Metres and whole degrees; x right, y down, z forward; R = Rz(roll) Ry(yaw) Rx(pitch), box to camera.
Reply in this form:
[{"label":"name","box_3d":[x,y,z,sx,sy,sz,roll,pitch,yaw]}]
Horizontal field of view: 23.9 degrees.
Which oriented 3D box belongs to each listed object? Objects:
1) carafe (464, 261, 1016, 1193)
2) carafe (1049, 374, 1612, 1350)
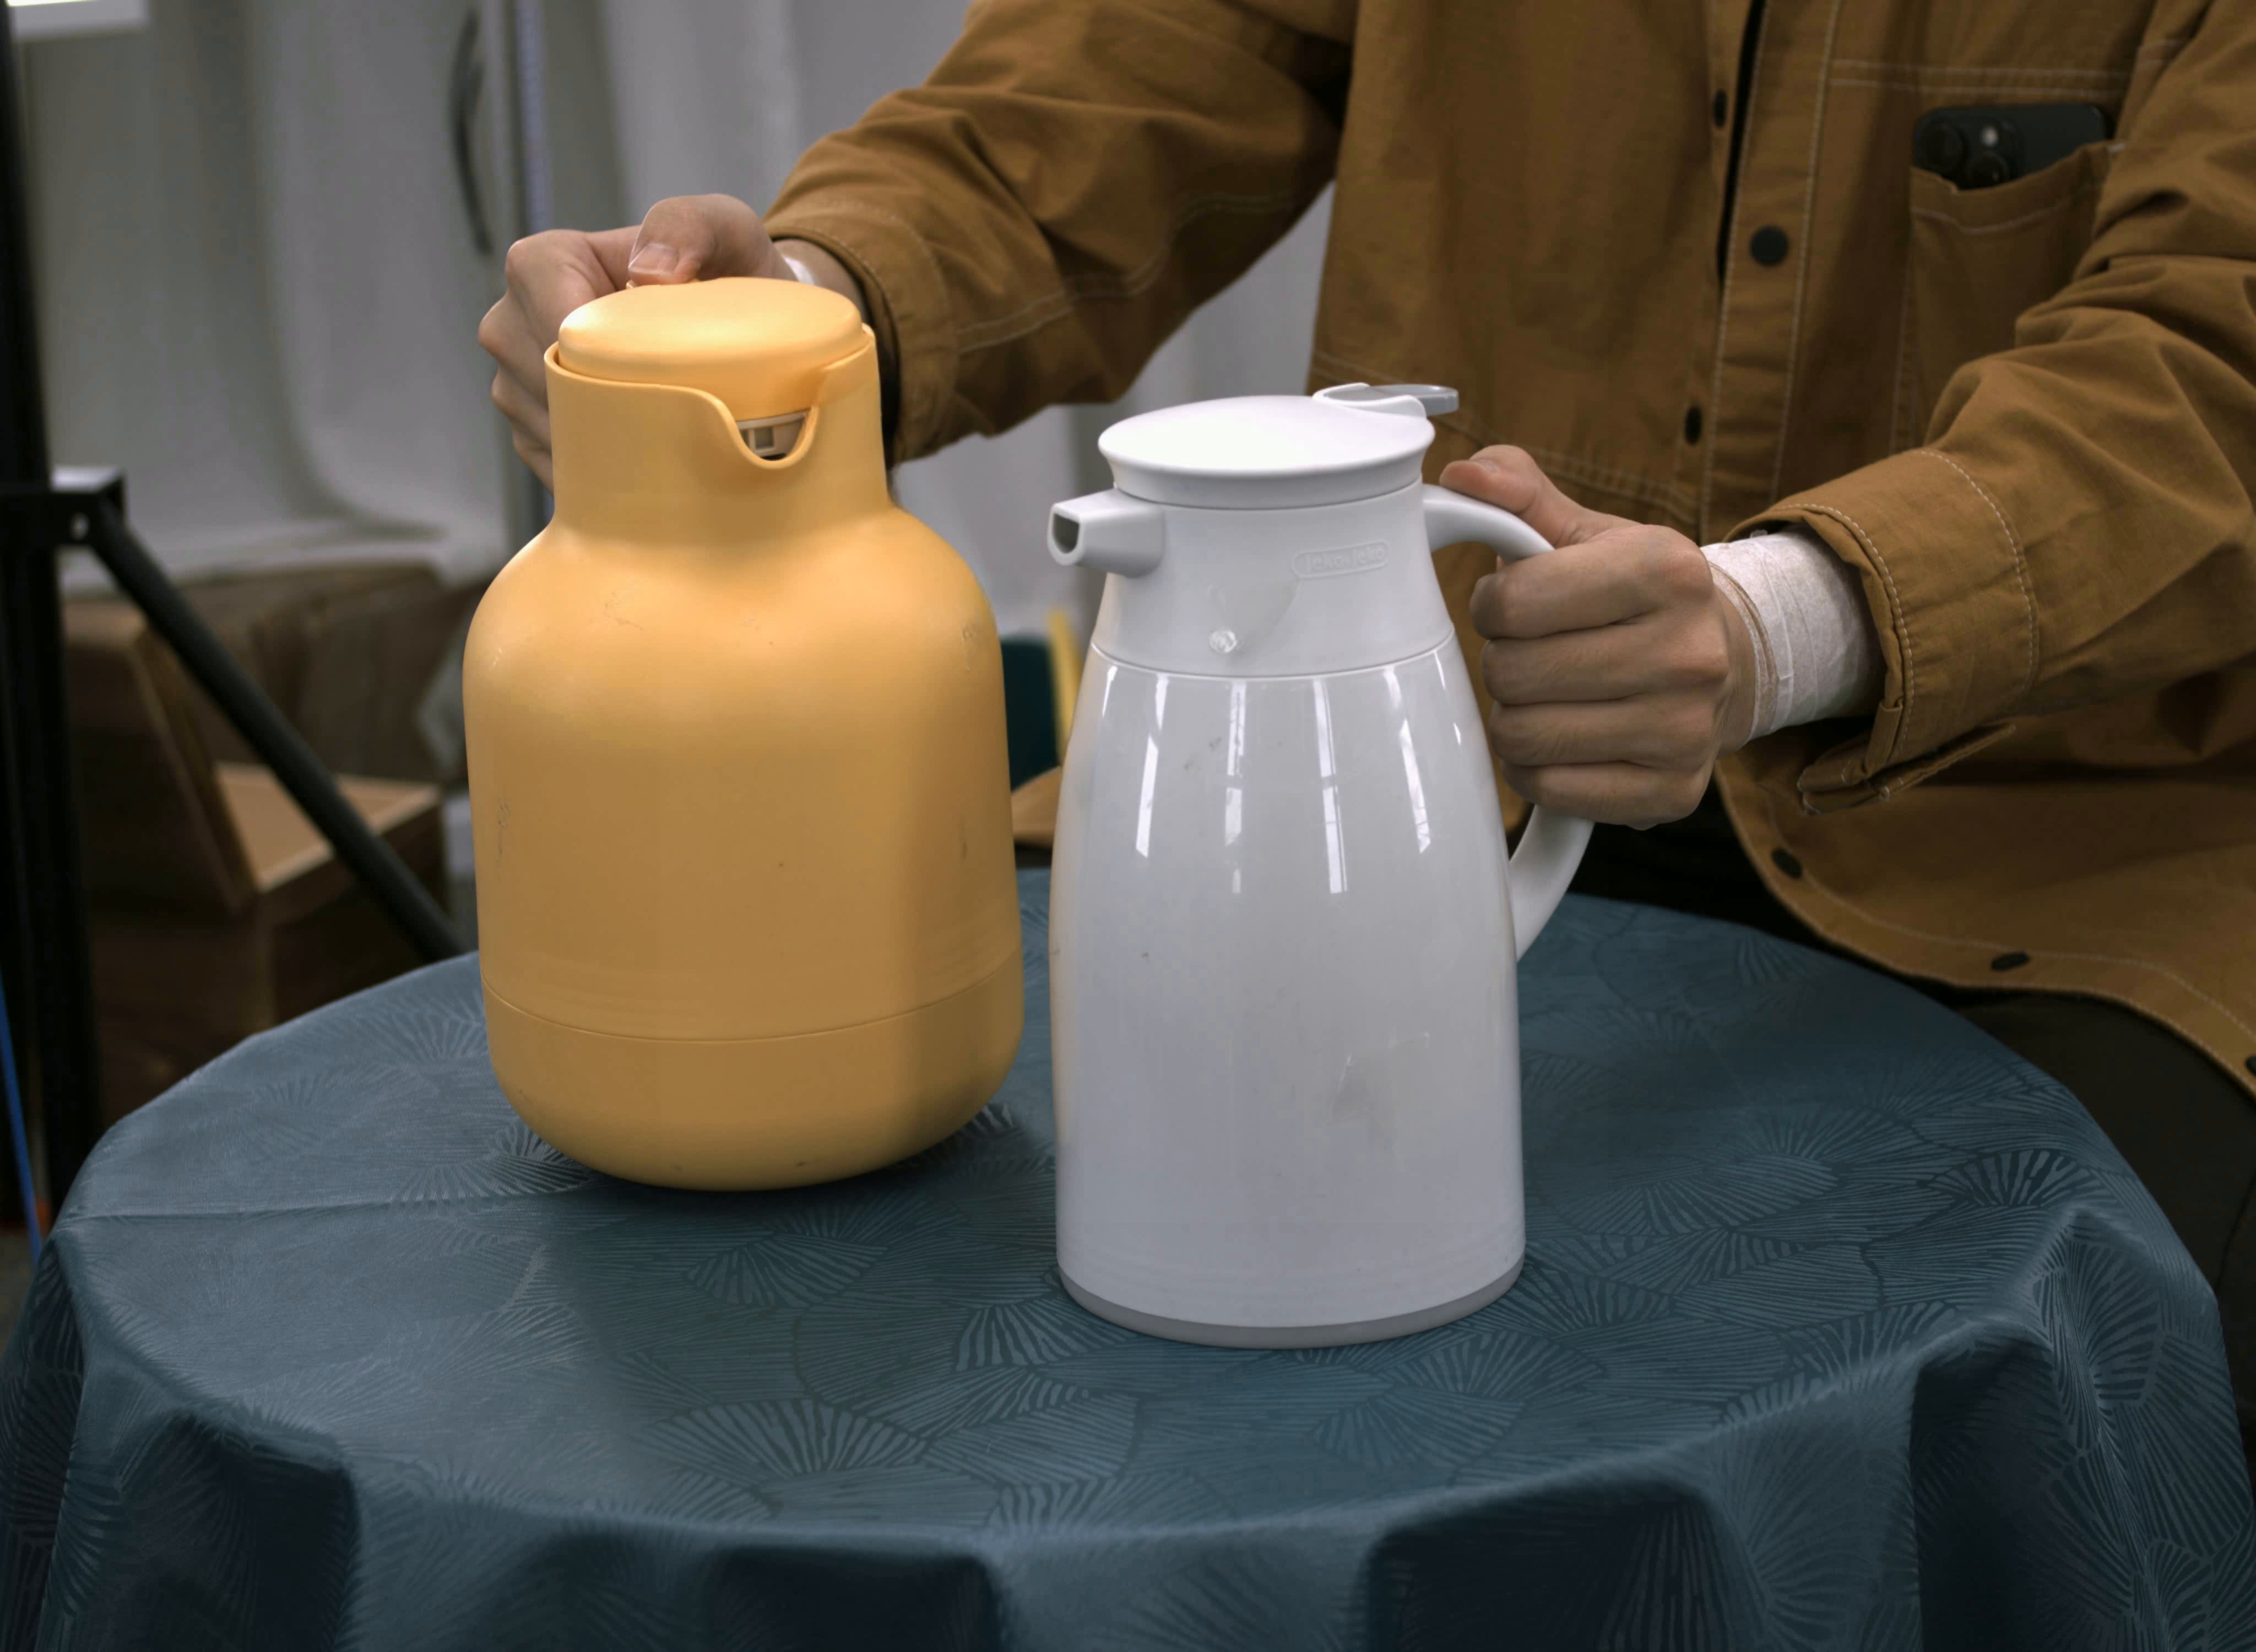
[{"label":"carafe","box_3d":[-0.120,-0.038,1.602,0.161,0.260,0.205,-5,20,-14]},{"label":"carafe","box_3d":[0.058,0.002,1.467,0.164,0.248,0.135,-9,16,-25]}]
